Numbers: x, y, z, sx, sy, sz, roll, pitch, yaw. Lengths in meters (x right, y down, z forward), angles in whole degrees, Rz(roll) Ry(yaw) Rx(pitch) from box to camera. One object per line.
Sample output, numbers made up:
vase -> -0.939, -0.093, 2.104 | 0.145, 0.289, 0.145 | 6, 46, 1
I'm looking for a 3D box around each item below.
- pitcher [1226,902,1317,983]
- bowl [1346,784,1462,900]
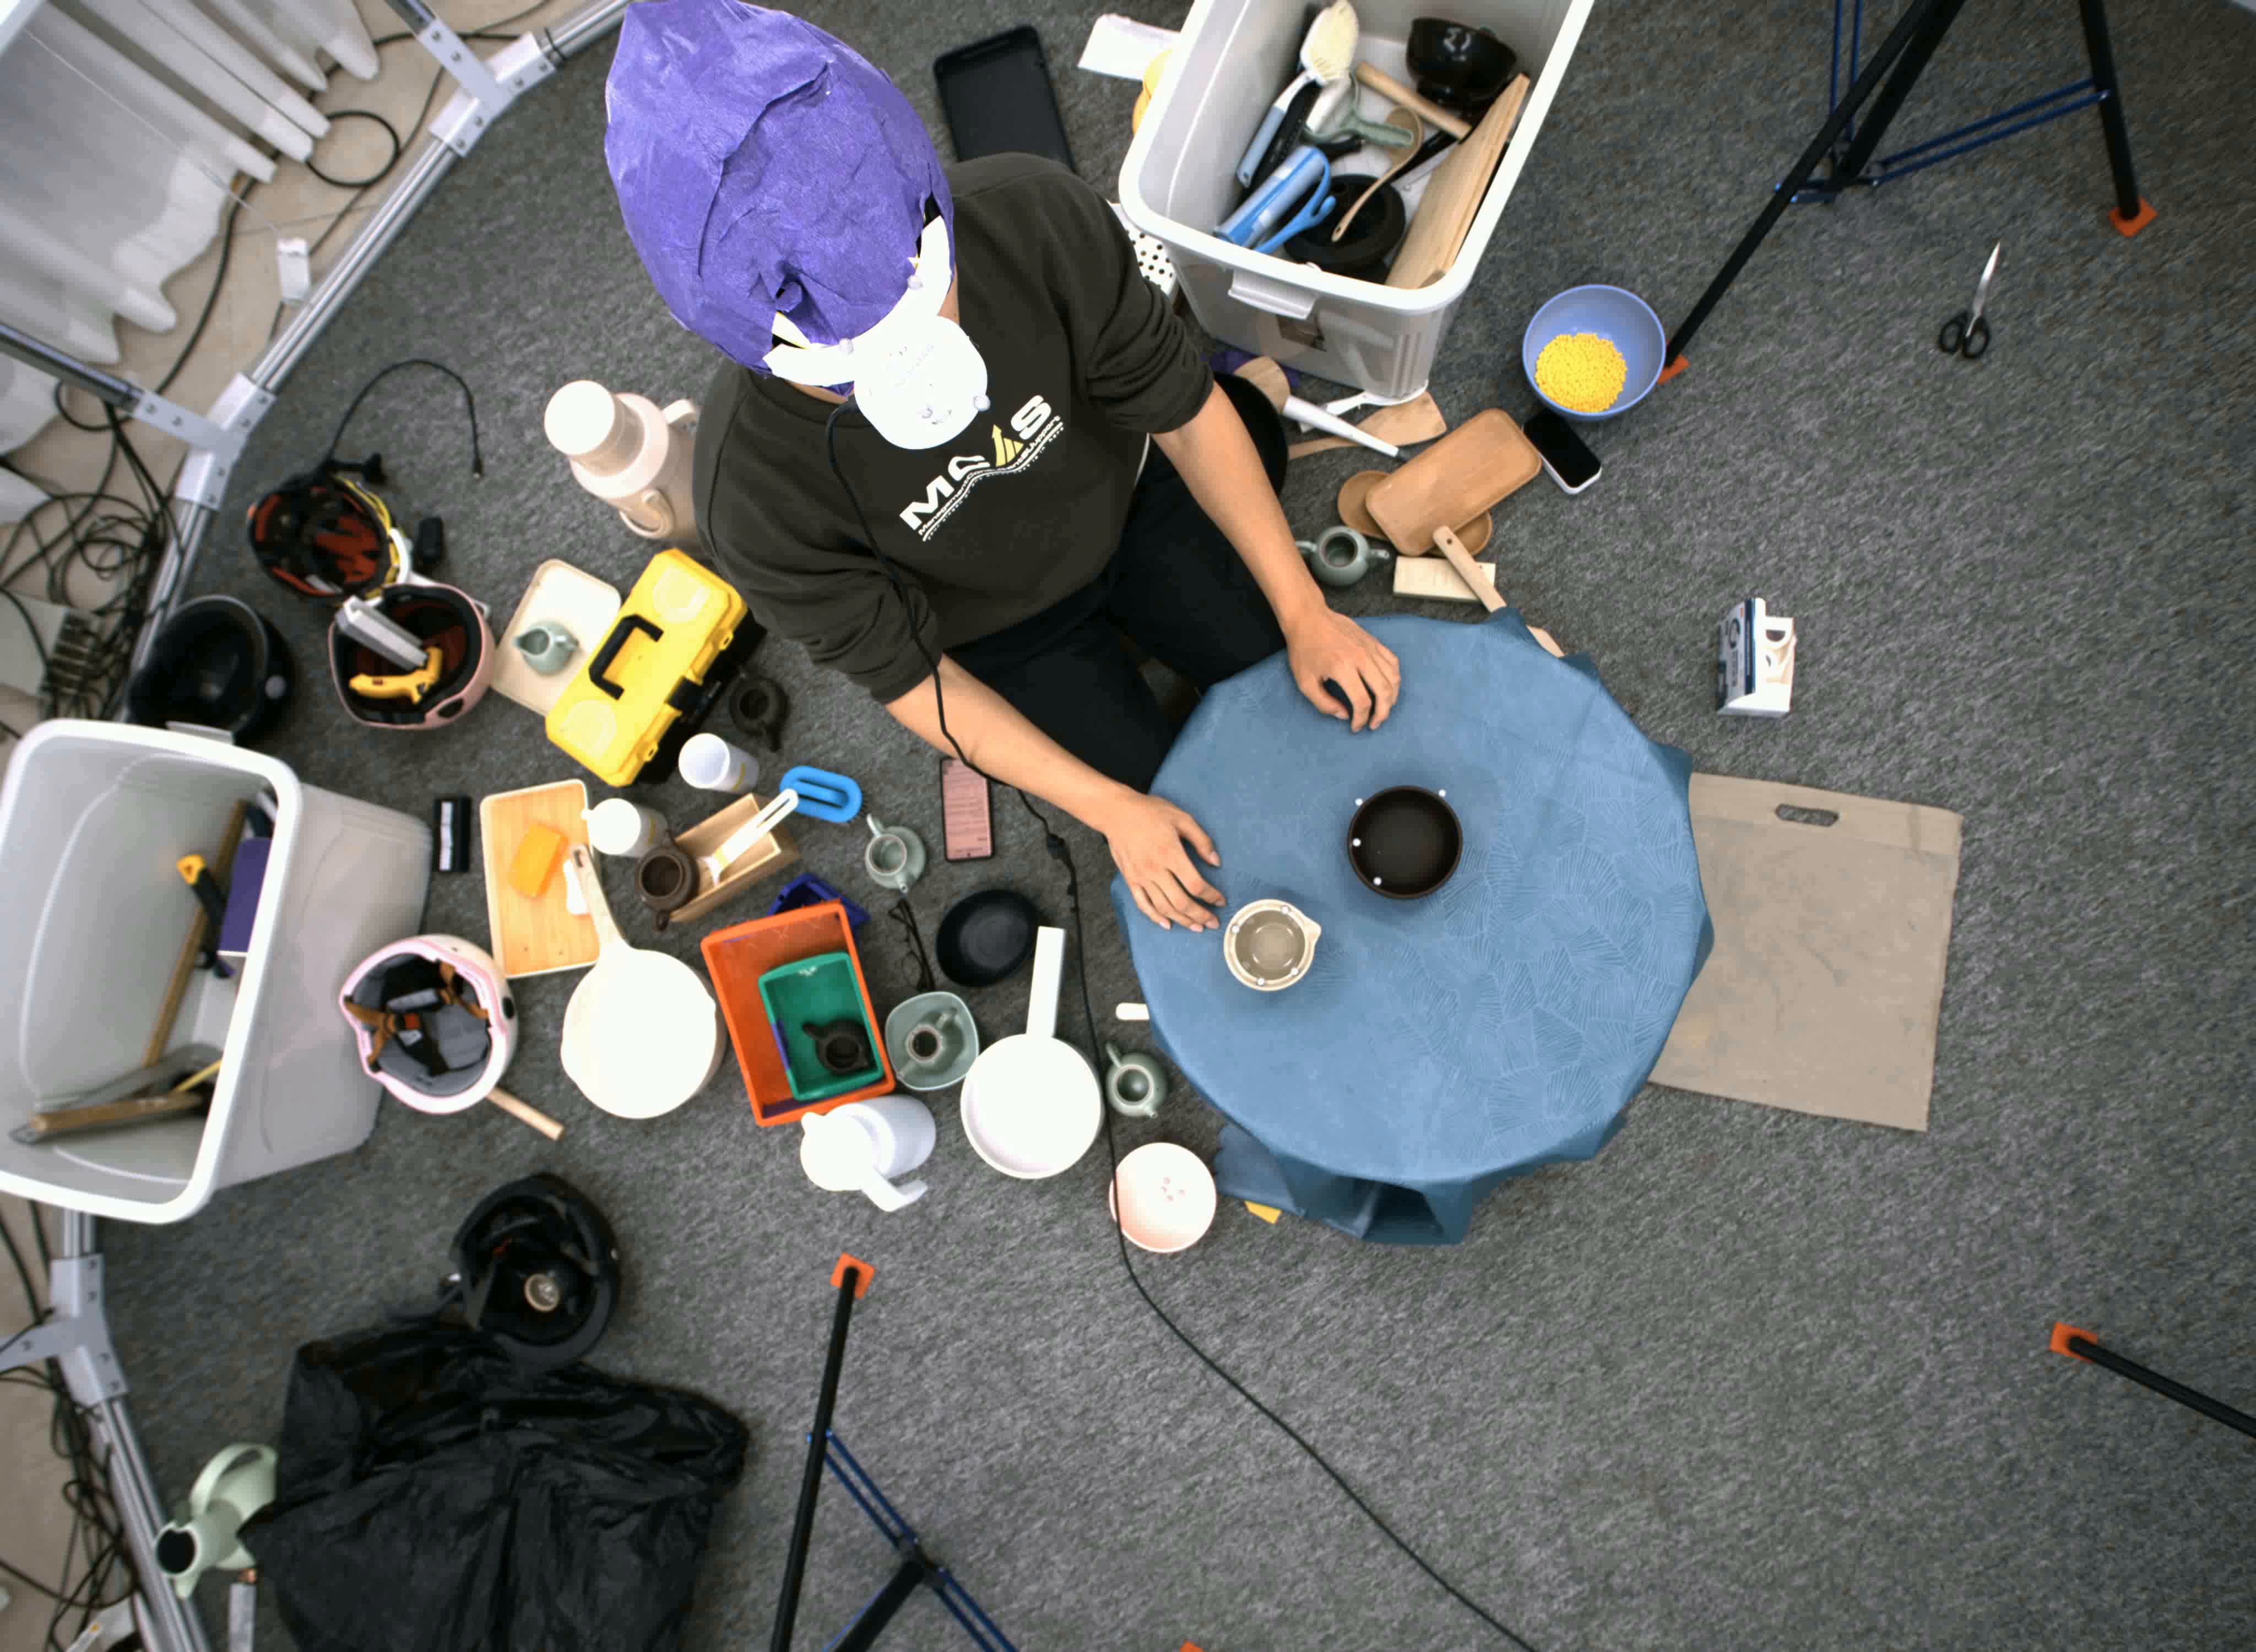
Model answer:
pitcher -> 0.151, 0.120, 1.441 | 0.096, 0.071, 0.083 | -13, 81, 10
bowl -> 0.284, 0.017, 1.424 | 0.118, 0.070, 0.117 | -1, 88, 10
